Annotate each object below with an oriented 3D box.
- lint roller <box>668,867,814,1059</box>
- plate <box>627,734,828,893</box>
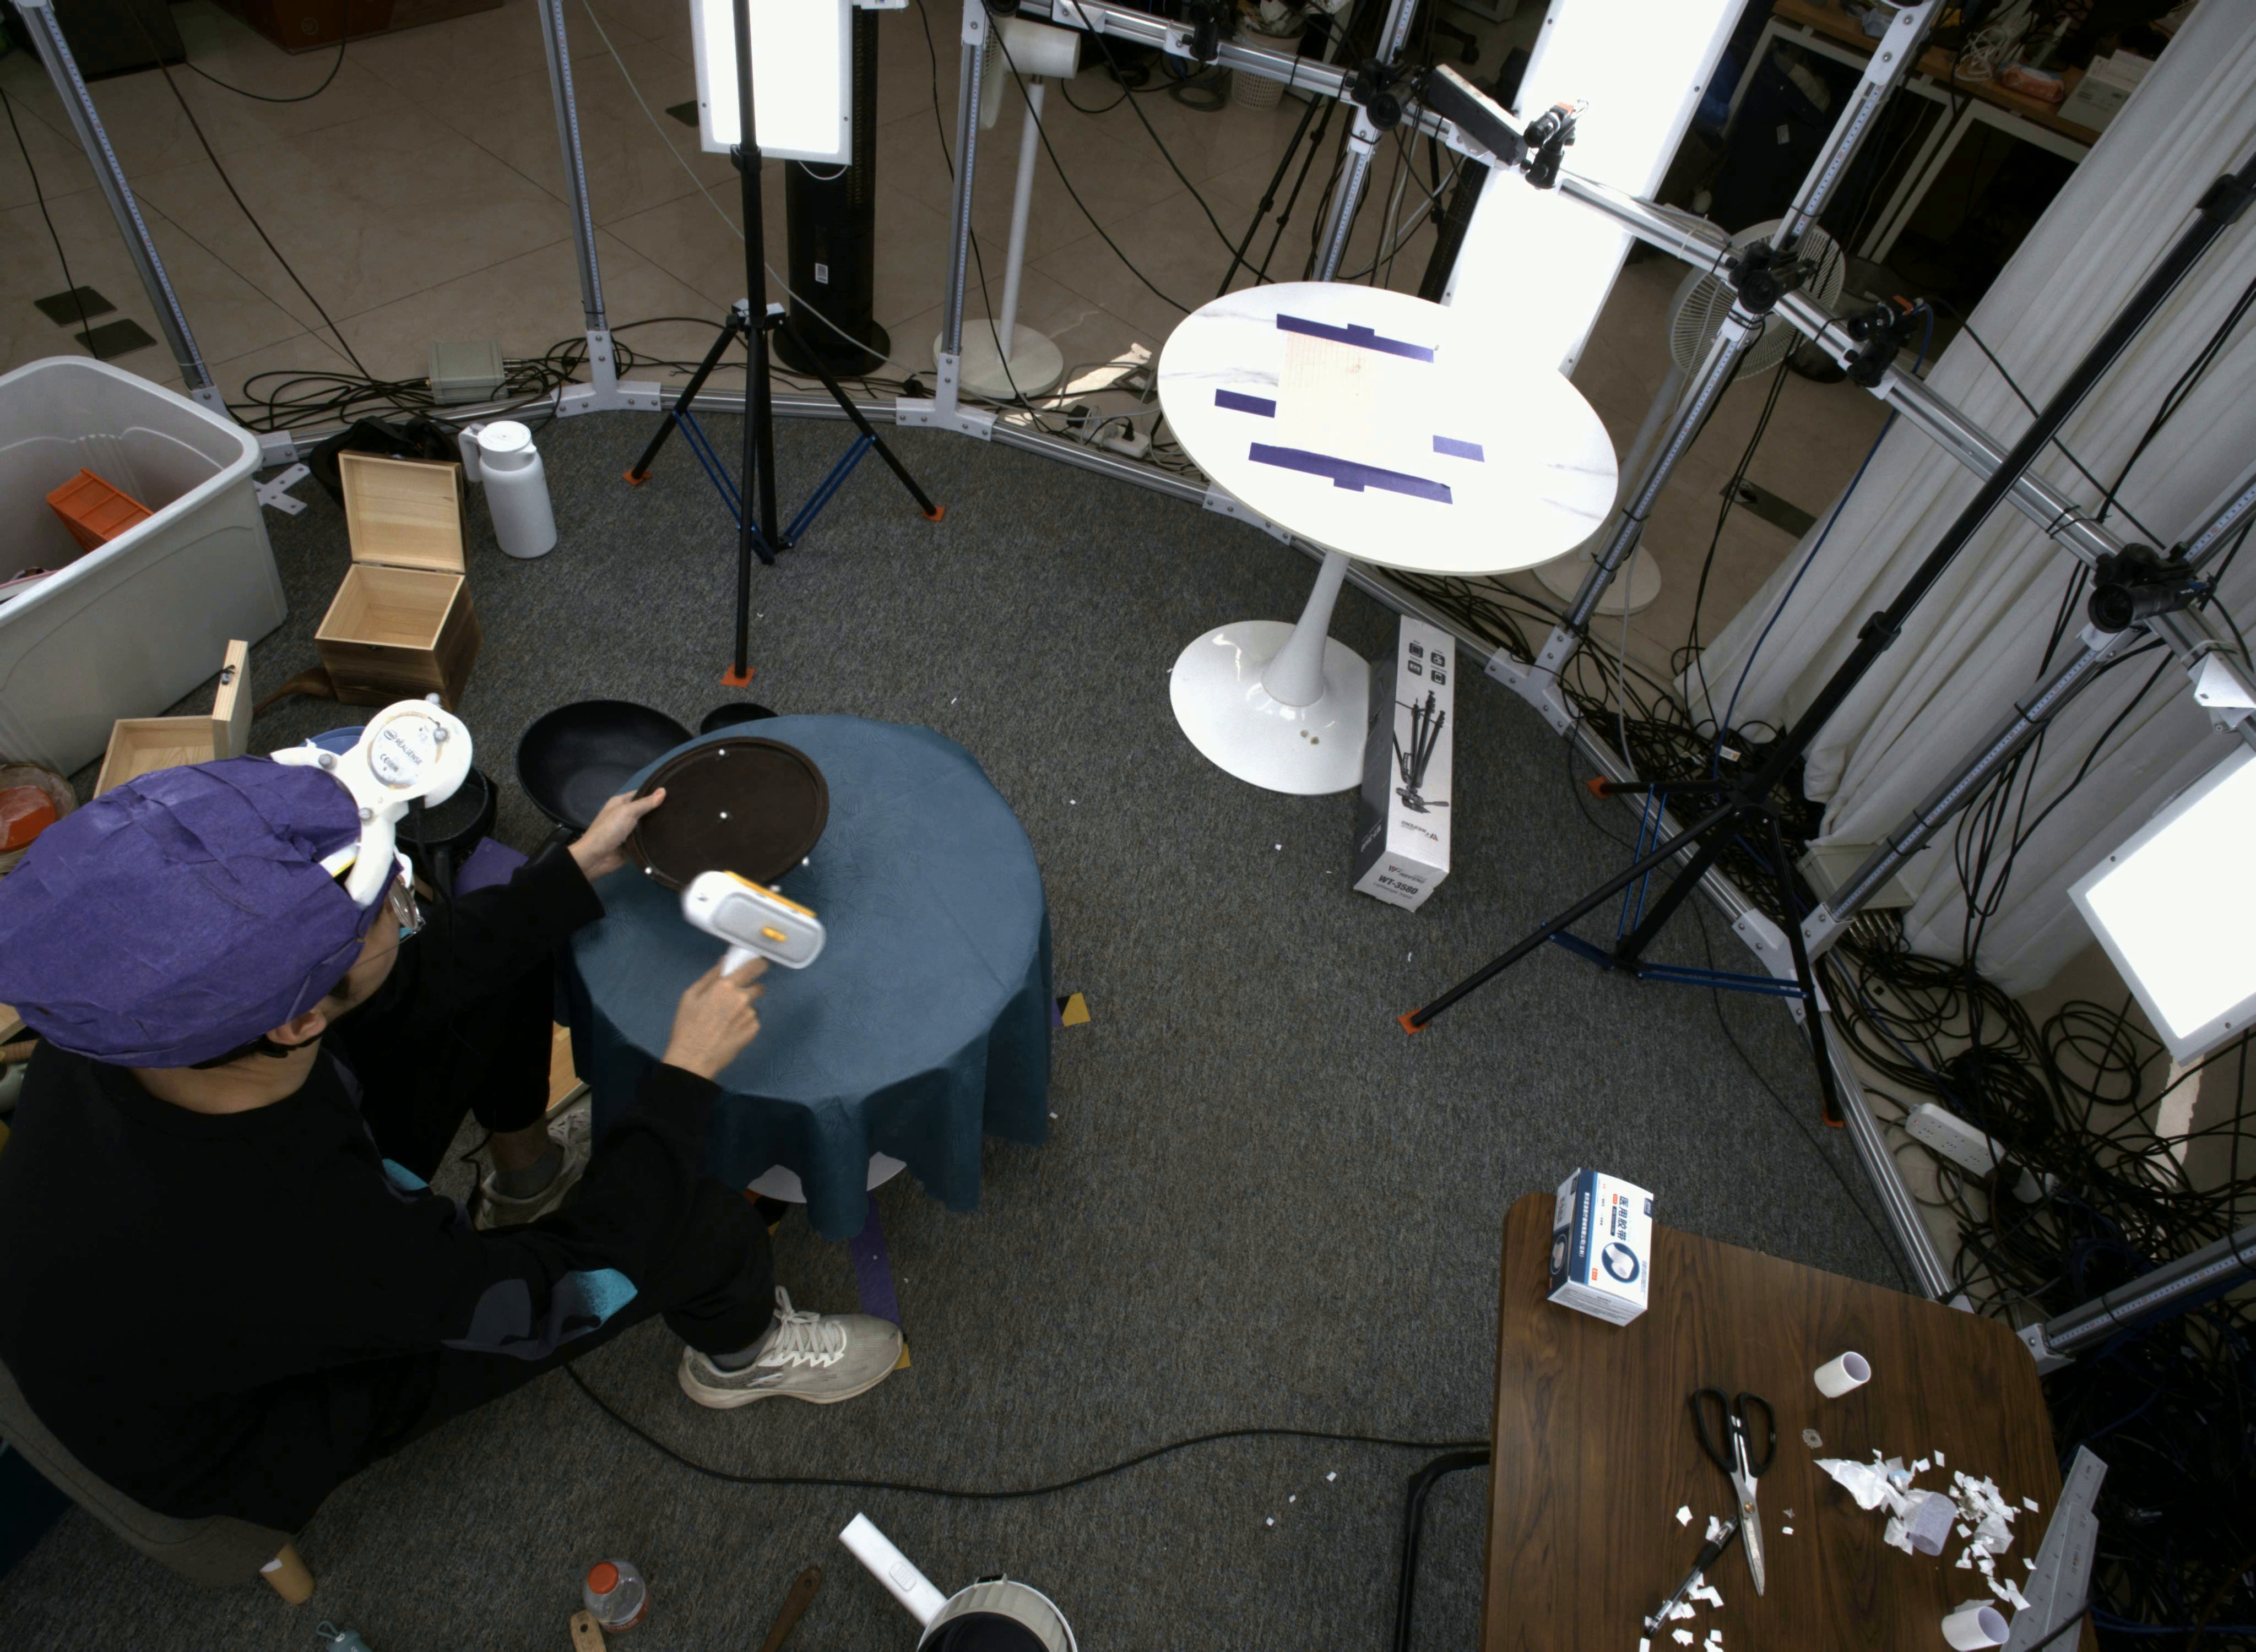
[{"bbox_3d":[-0.447,0.159,1.448,0.071,0.198,0.193,18,82,28],"label":"lint roller"},{"bbox_3d":[-0.497,-0.016,1.604,0.251,0.030,0.250,0,54,1],"label":"plate"}]
